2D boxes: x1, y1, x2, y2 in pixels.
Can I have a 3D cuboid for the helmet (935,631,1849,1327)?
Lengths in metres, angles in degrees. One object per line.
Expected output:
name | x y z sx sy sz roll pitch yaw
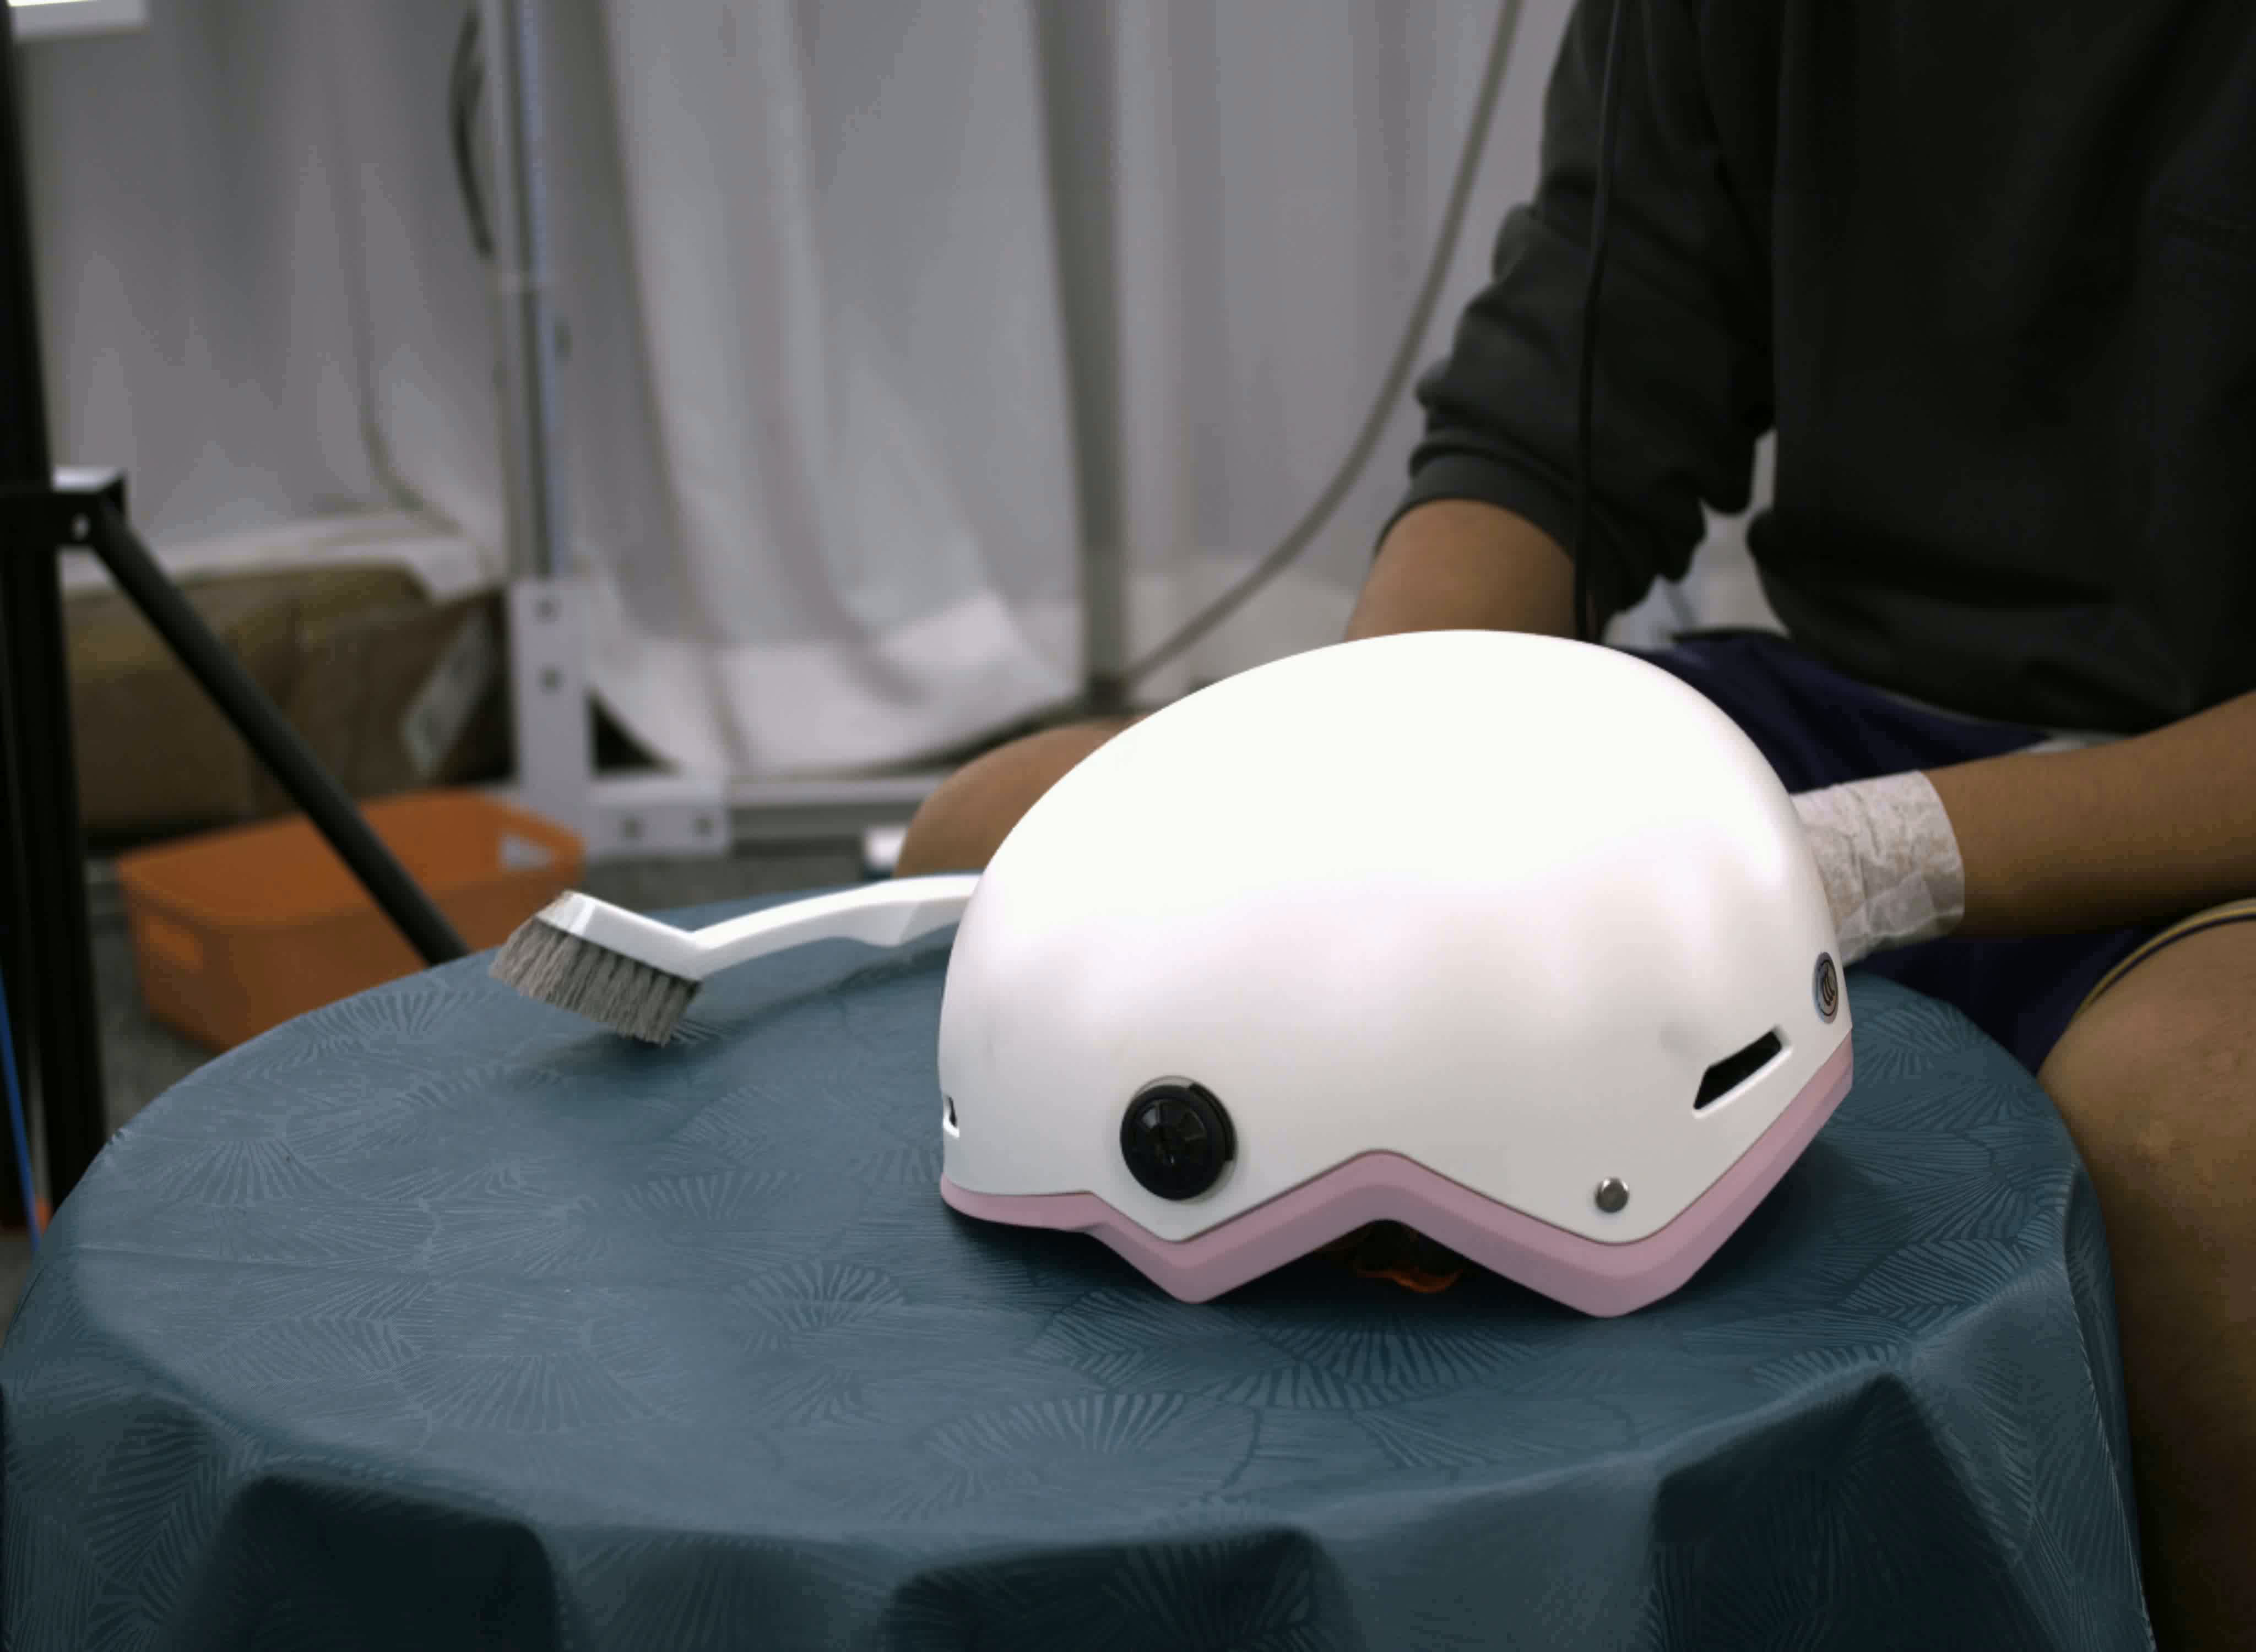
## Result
helmet | 0.073 0.029 1.530 0.272 0.167 0.234 4 17 23

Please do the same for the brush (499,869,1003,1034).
brush | -0.105 0.042 1.768 0.237 0.050 0.035 1 14 -44
